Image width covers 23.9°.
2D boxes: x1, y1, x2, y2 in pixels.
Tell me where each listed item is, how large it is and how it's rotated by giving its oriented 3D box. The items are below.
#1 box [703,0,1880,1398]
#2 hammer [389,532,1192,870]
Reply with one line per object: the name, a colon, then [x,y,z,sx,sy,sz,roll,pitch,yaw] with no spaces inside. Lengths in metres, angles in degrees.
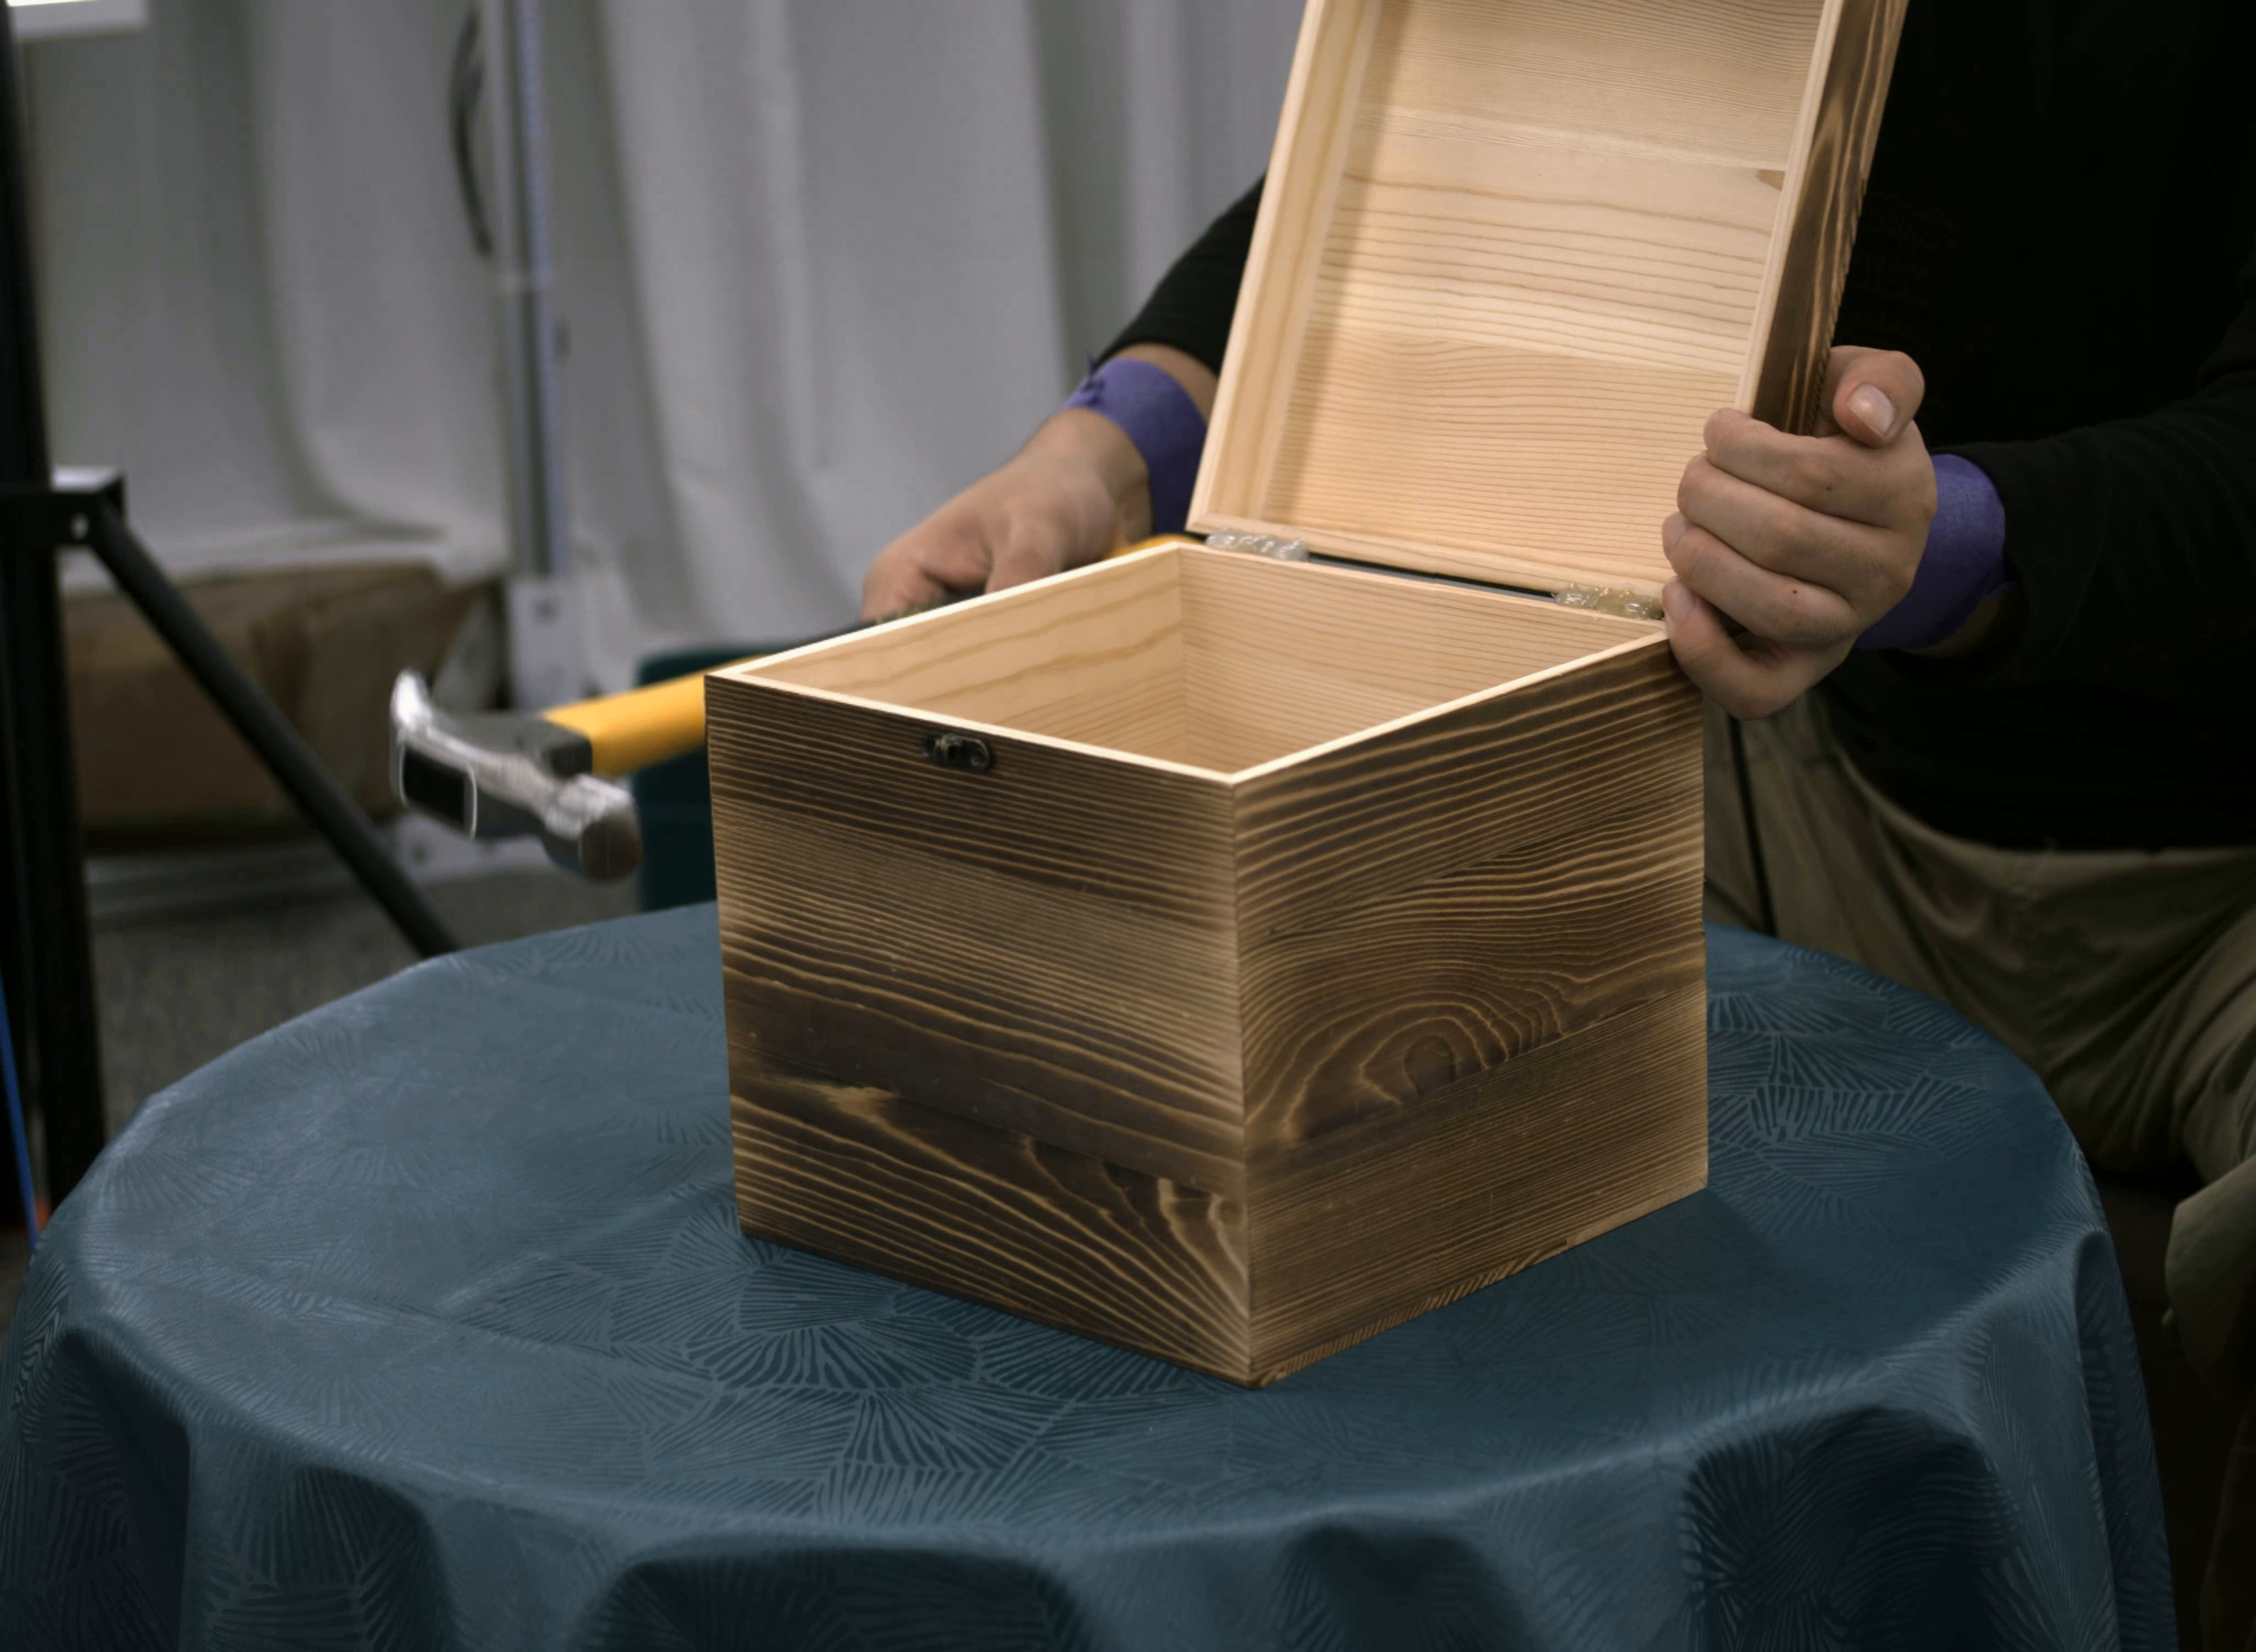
box: [0.056,-0.071,1.525,0.213,0.375,0.315,11,19,43]
hammer: [-0.091,-0.052,1.686,0.134,0.032,0.331,21,27,40]
